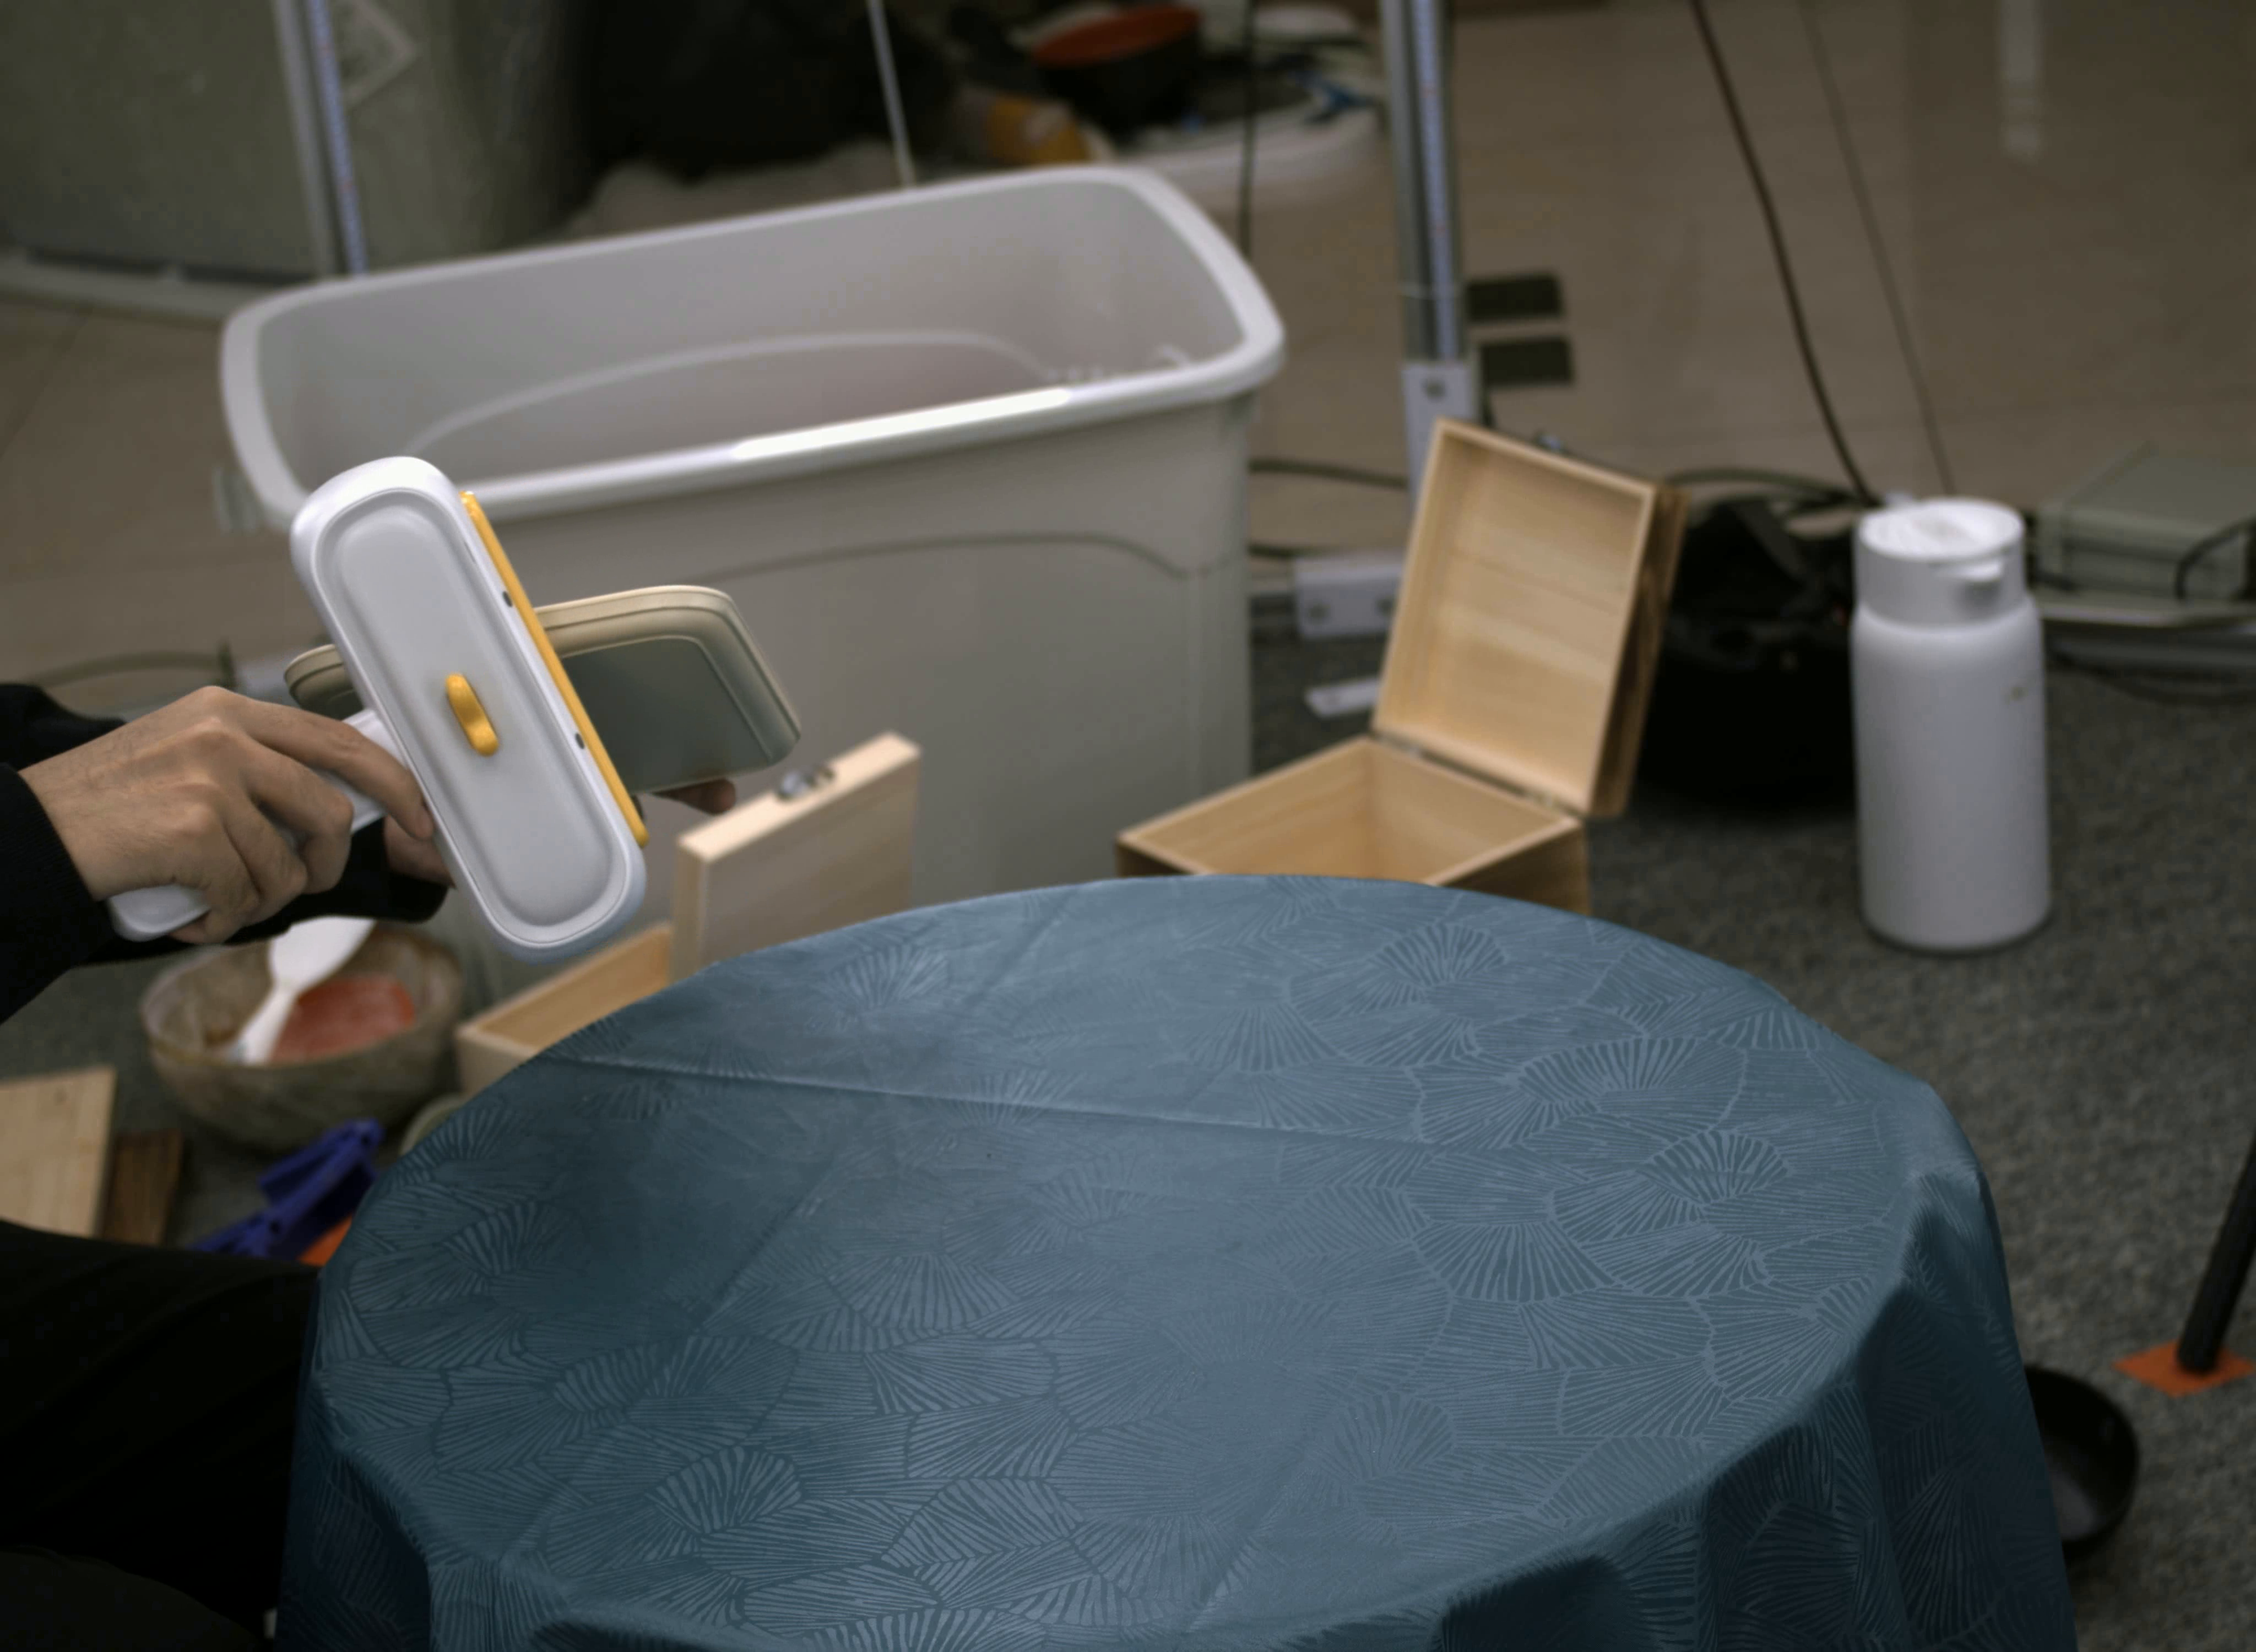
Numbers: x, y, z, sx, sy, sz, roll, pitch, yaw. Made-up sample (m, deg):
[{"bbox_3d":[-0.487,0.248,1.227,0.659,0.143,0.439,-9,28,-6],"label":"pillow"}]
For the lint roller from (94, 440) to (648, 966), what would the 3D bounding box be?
[{"bbox_3d":[-0.285,-0.017,2.016,0.191,0.195,0.074,-32,16,-13],"label":"lint roller"}]

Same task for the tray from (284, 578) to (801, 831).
[{"bbox_3d":[-0.220,-0.043,2.174,0.171,0.017,0.241,-11,-14,3],"label":"tray"}]
